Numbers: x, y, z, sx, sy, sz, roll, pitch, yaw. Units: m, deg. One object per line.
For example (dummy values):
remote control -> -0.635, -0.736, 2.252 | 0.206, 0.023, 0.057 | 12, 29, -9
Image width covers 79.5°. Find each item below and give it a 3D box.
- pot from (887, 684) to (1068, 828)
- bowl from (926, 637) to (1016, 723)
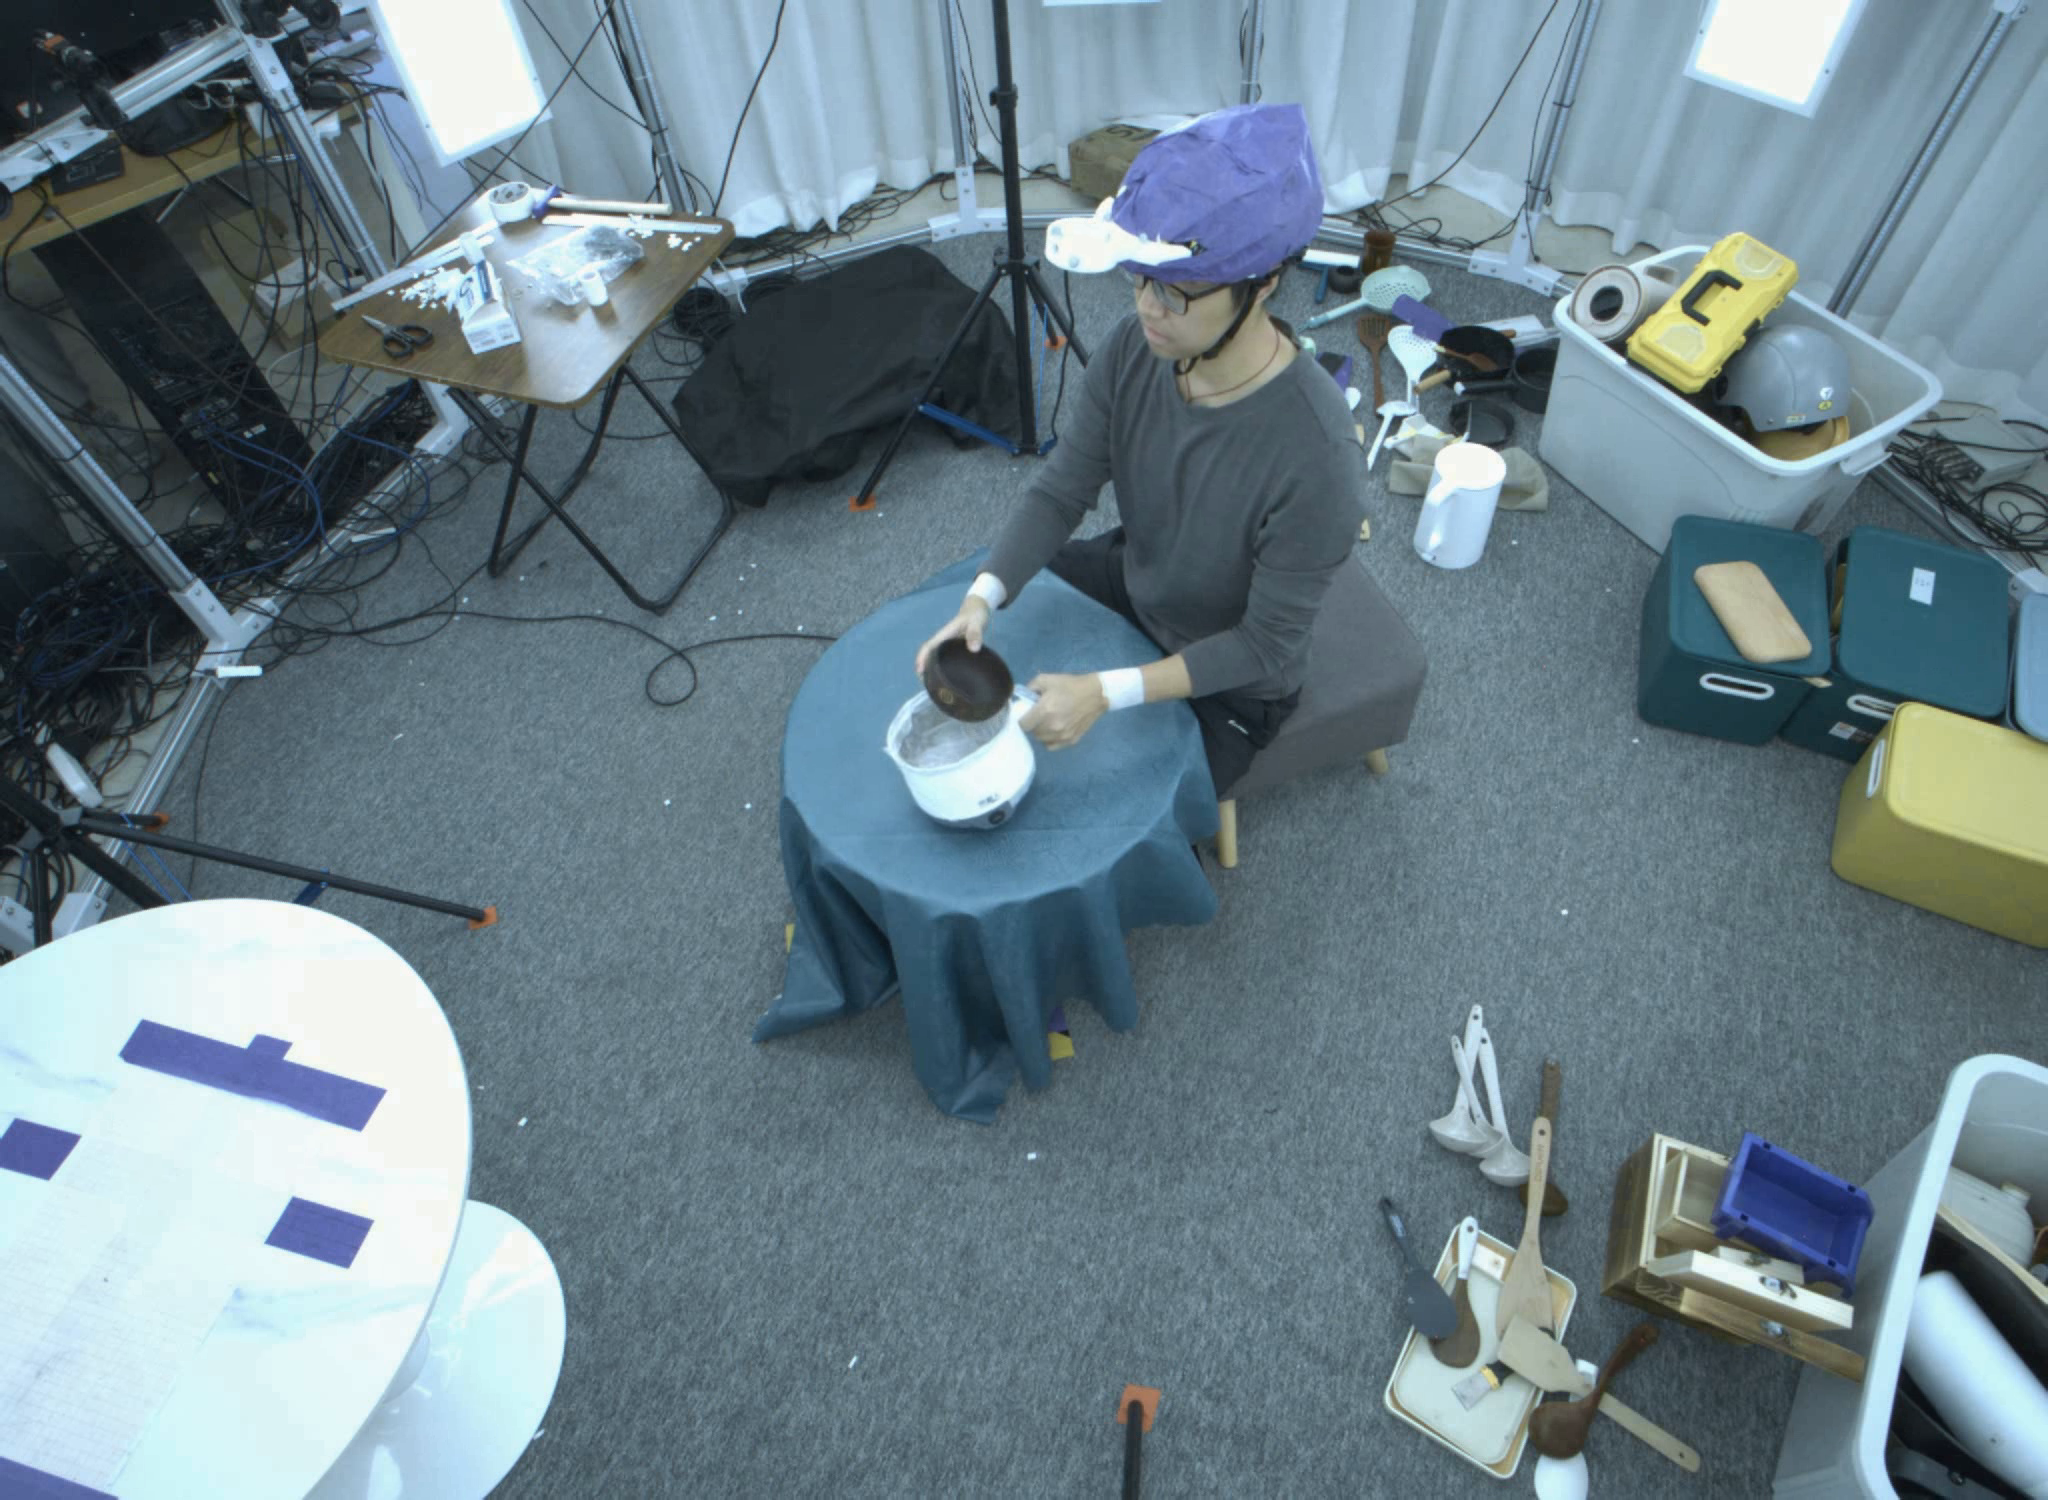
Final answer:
pot -> -0.057, -0.007, 1.688 | 0.234, 0.139, 0.175 | -29, 44, -5
bowl -> -0.077, -0.084, 1.618 | 0.120, 0.069, 0.117 | 24, 40, -20
